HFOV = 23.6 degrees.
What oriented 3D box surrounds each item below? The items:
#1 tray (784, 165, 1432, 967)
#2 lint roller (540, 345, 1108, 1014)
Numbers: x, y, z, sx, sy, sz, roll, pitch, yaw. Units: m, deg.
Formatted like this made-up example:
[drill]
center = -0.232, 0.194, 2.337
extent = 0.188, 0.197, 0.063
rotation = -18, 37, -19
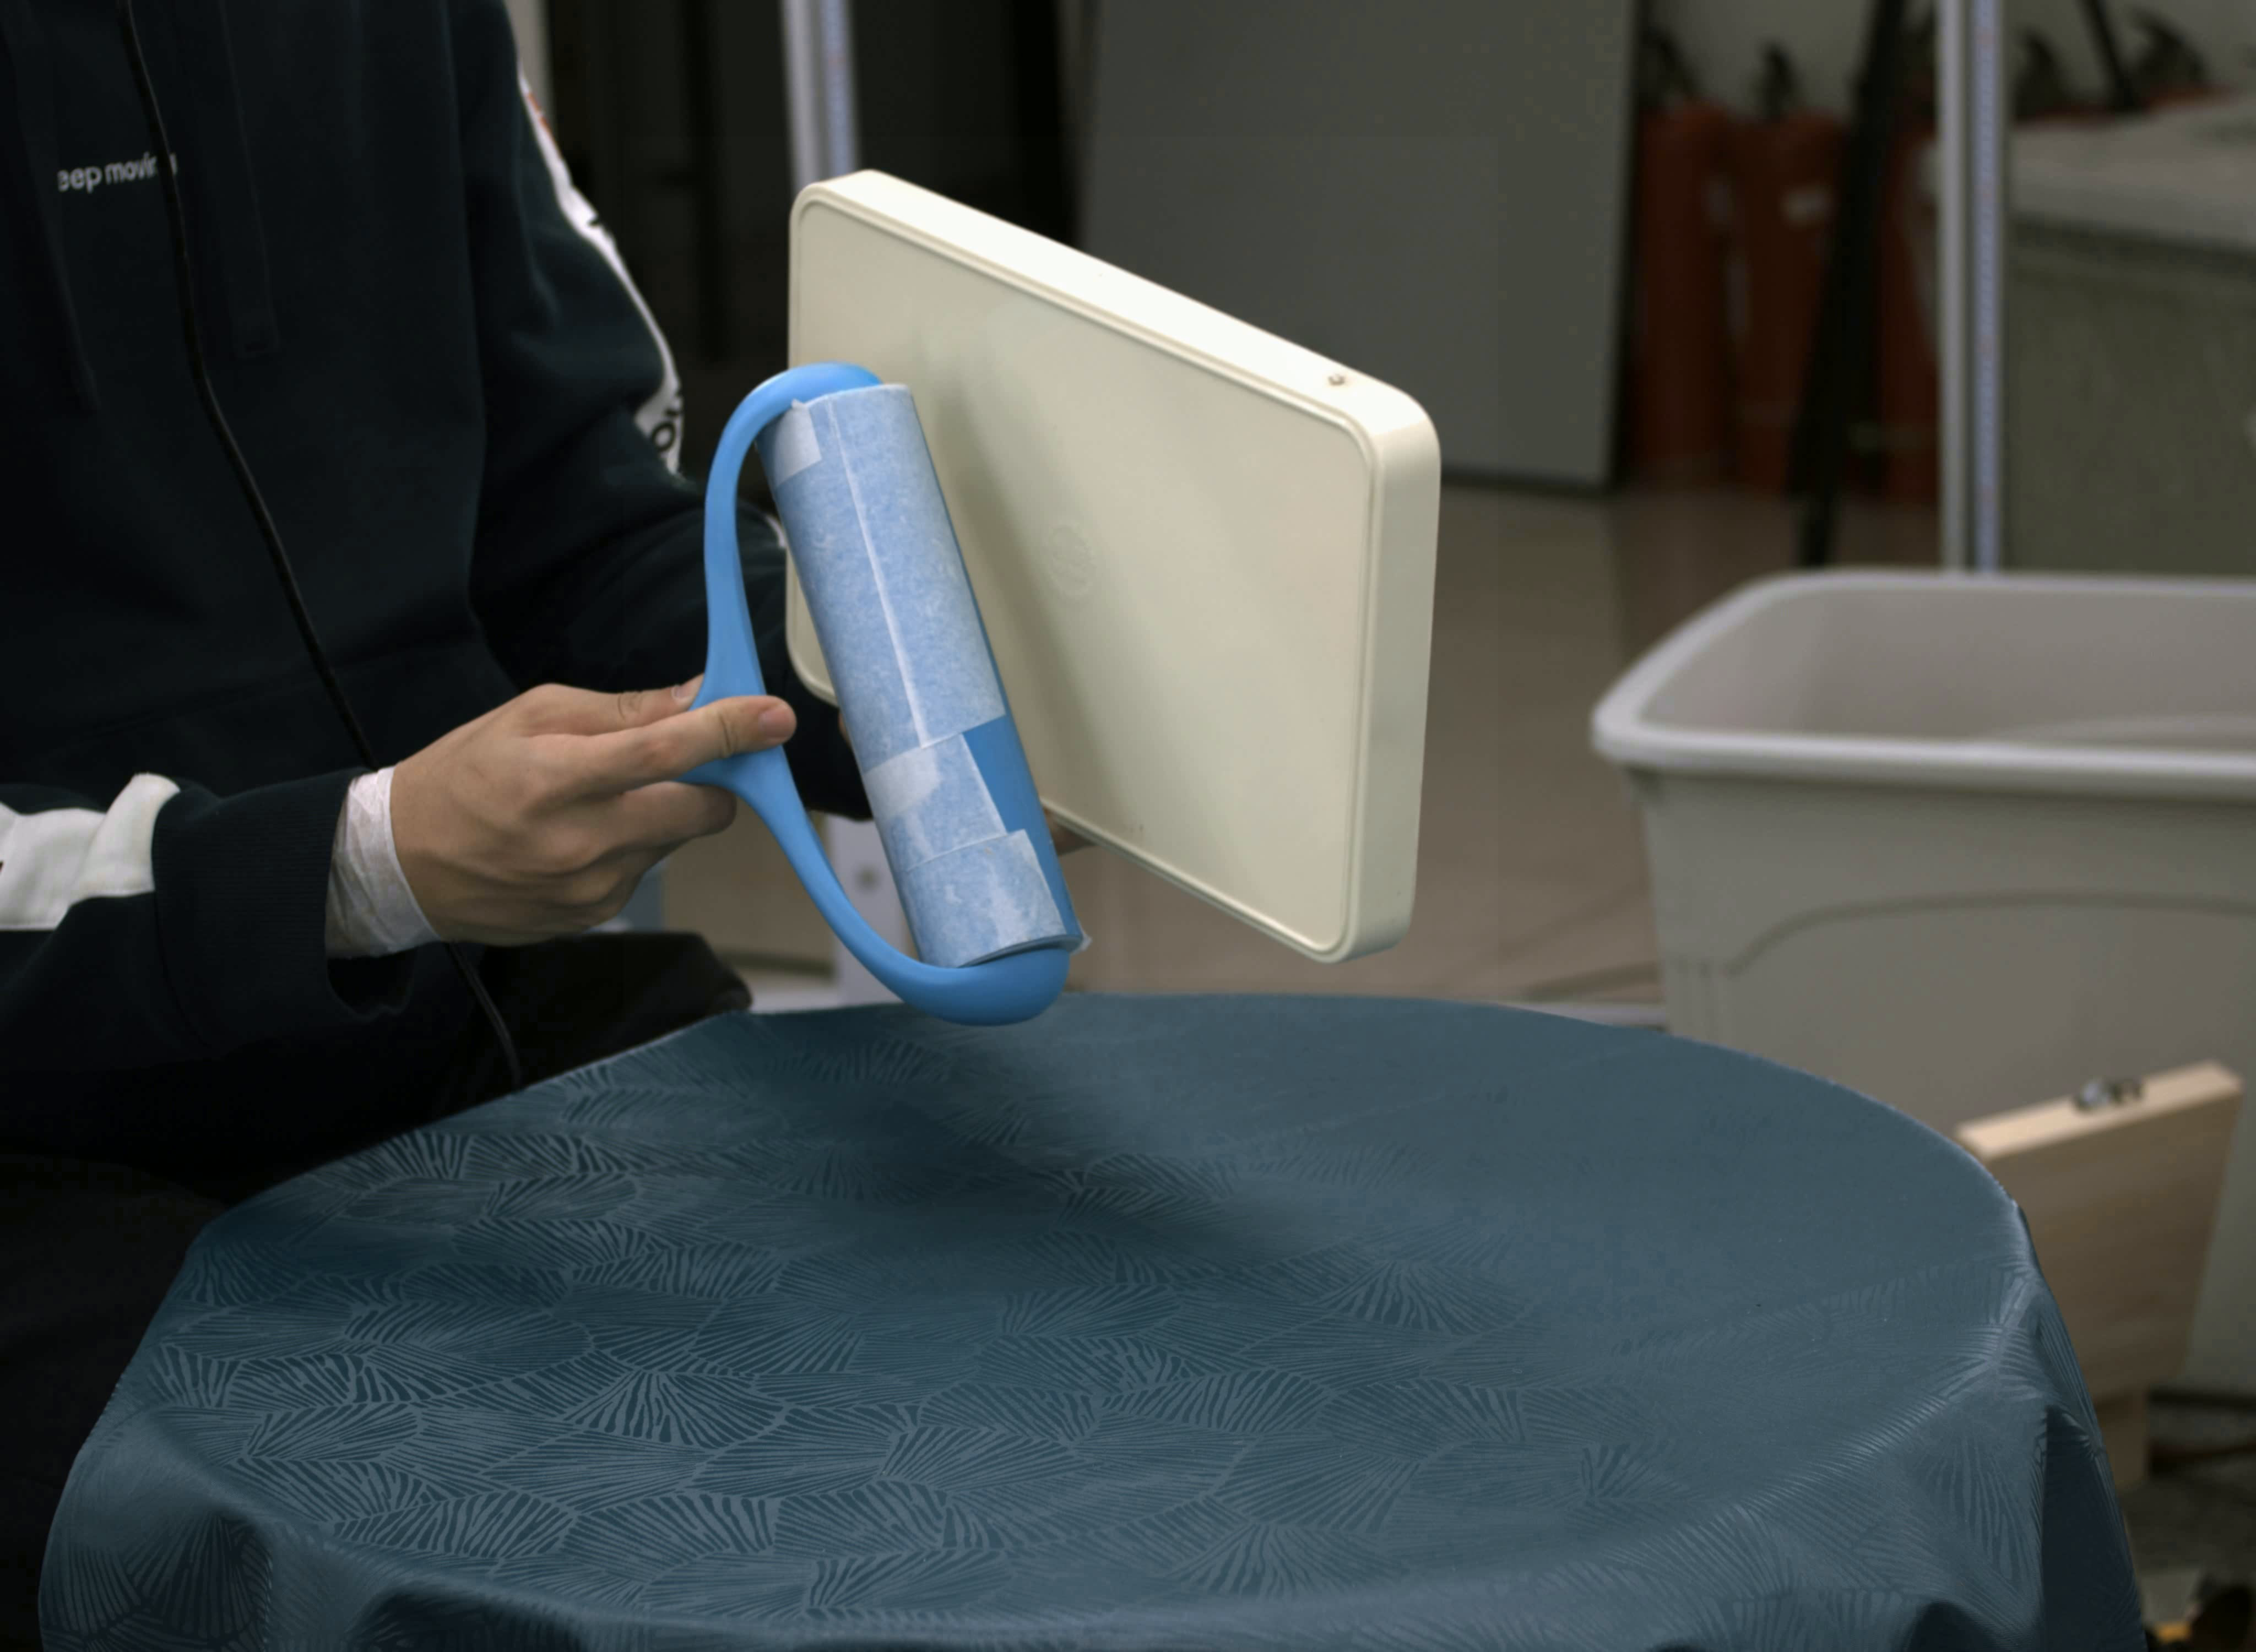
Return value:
[tray]
center = -0.014, -0.088, 1.760
extent = 0.027, 0.193, 0.303
rotation = -17, 29, -36
[lint roller]
center = -0.117, -0.024, 1.759
extent = 0.179, 0.231, 0.067
rotation = -25, -11, 9
